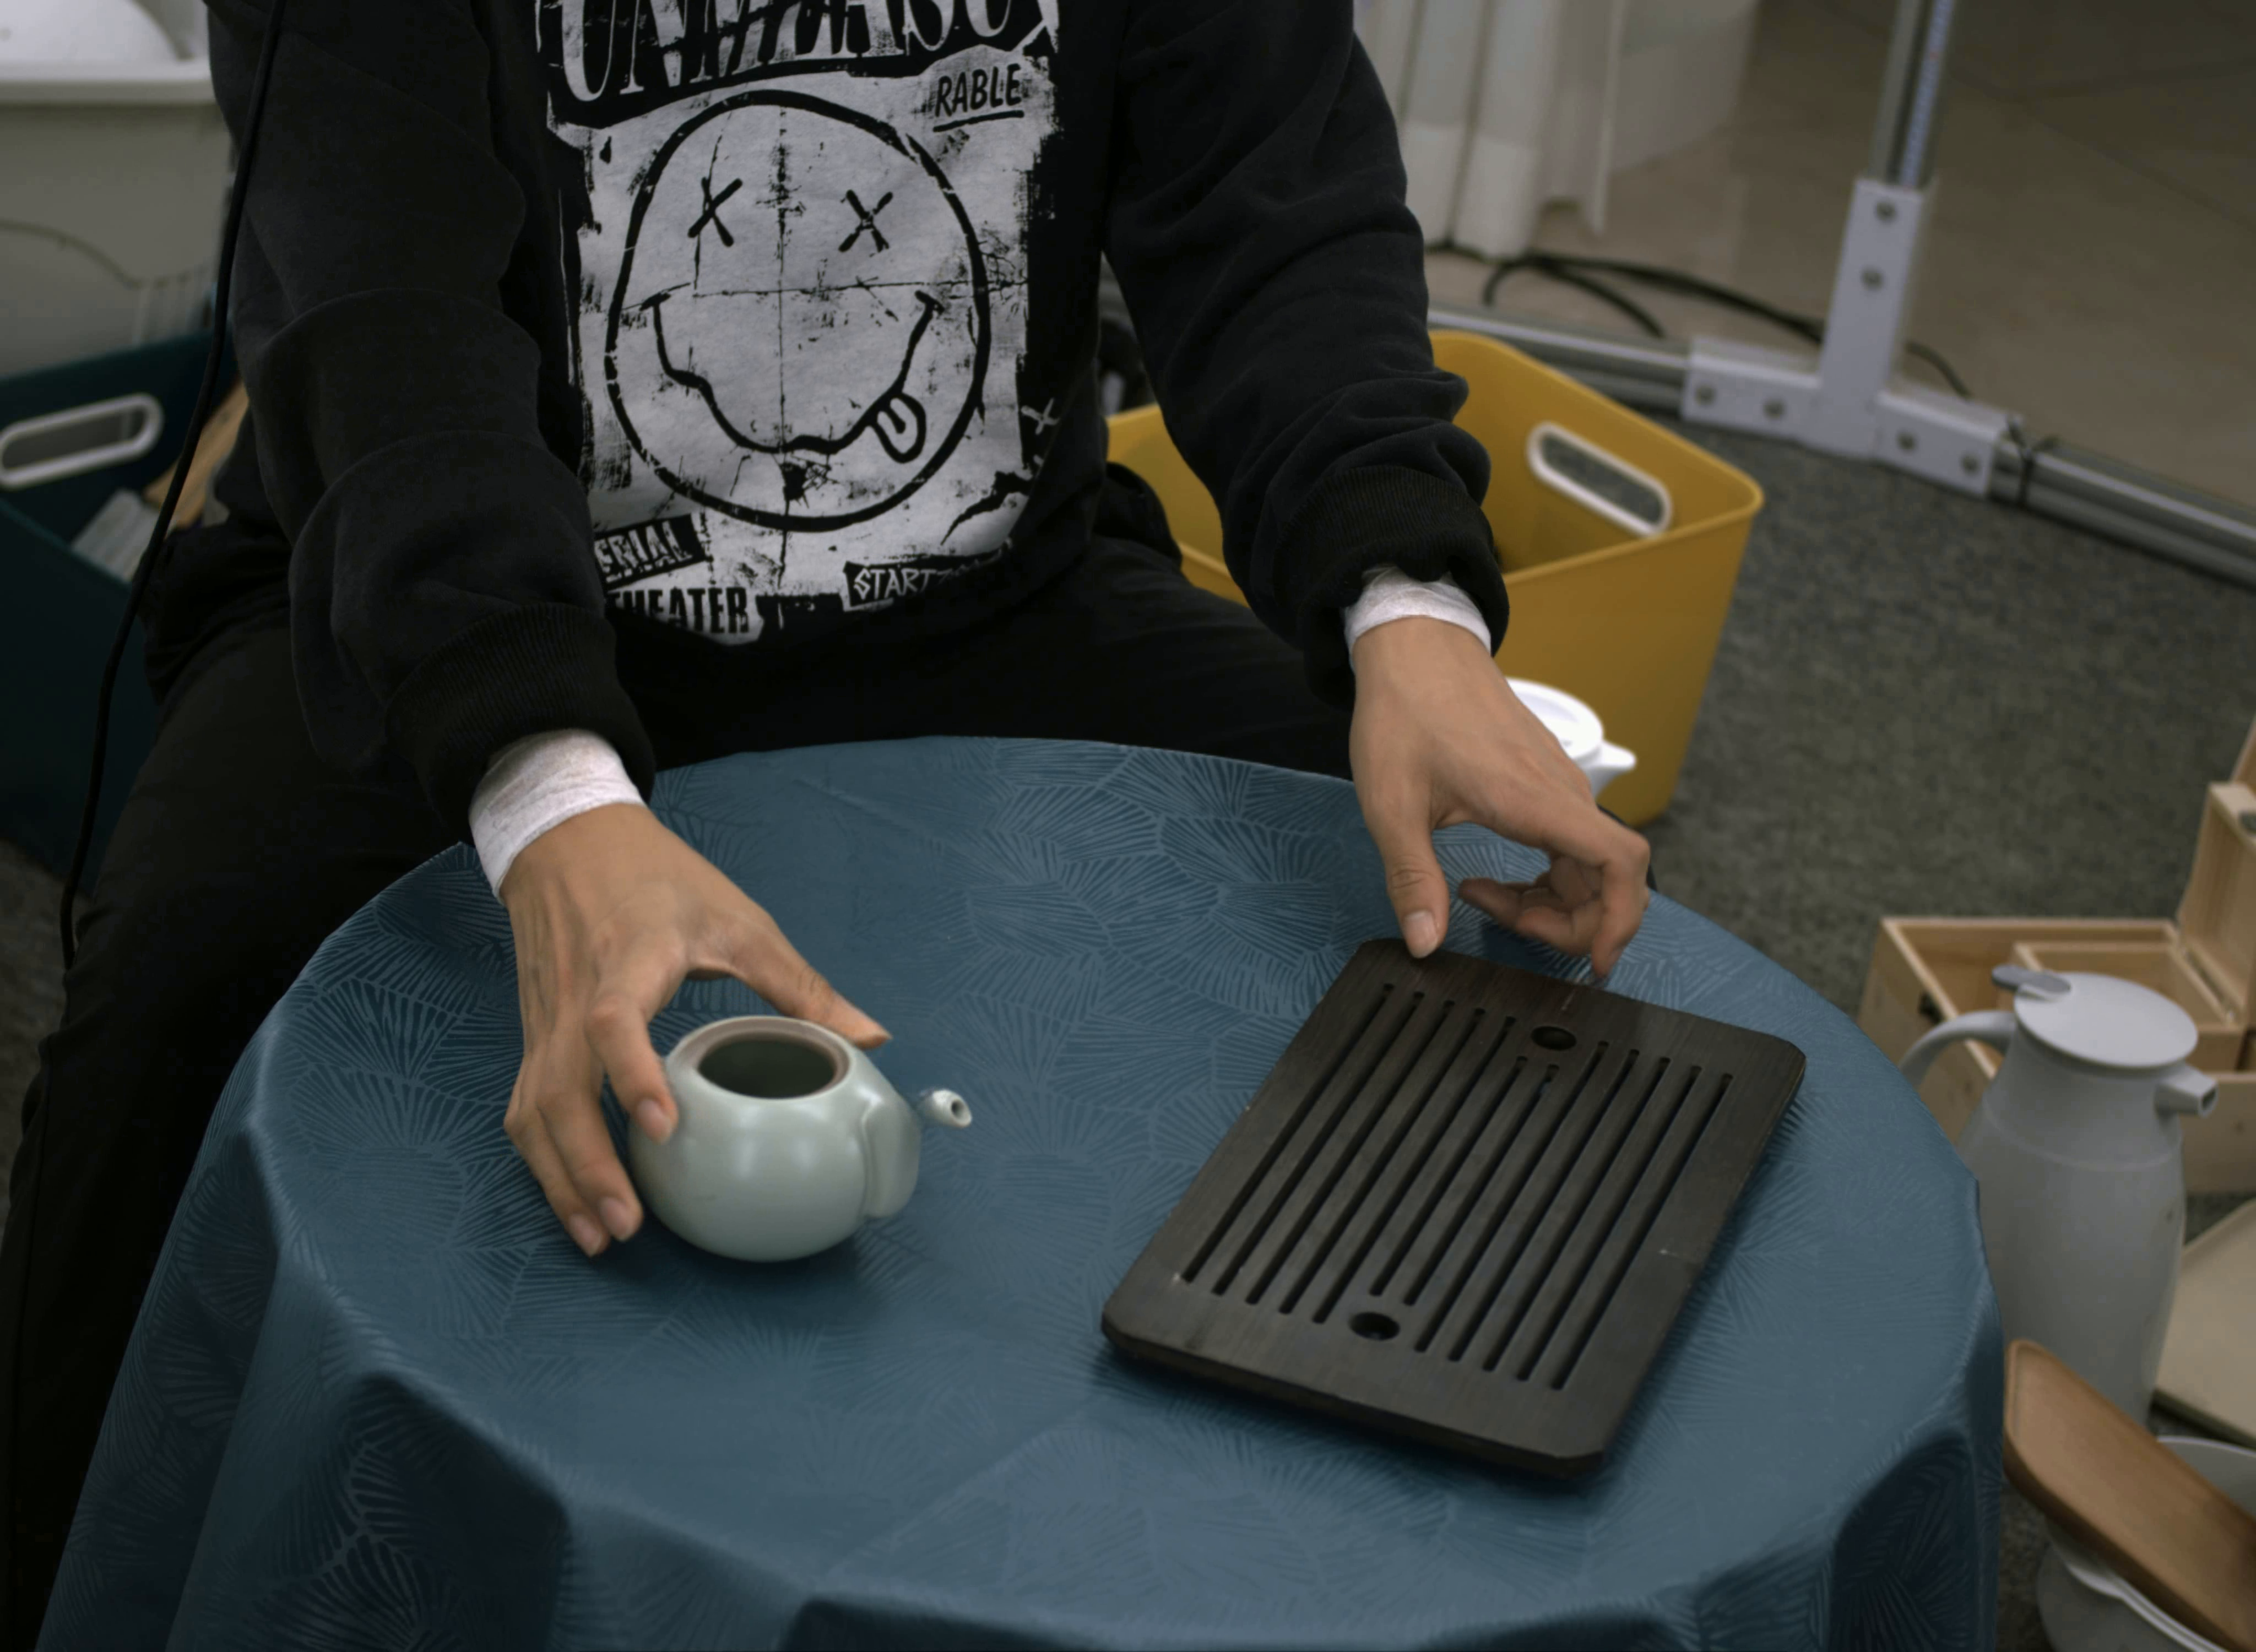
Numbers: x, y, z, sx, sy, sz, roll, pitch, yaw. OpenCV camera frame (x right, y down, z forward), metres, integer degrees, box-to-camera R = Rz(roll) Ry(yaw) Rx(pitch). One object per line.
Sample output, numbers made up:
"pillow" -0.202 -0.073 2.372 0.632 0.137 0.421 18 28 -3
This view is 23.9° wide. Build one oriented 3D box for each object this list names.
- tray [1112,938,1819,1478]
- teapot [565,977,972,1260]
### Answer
"tray" 0.121 0.126 1.807 0.170 0.018 0.306 14 28 15
"teapot" -0.120 0.100 1.743 0.144 0.074 0.088 19 29 18
